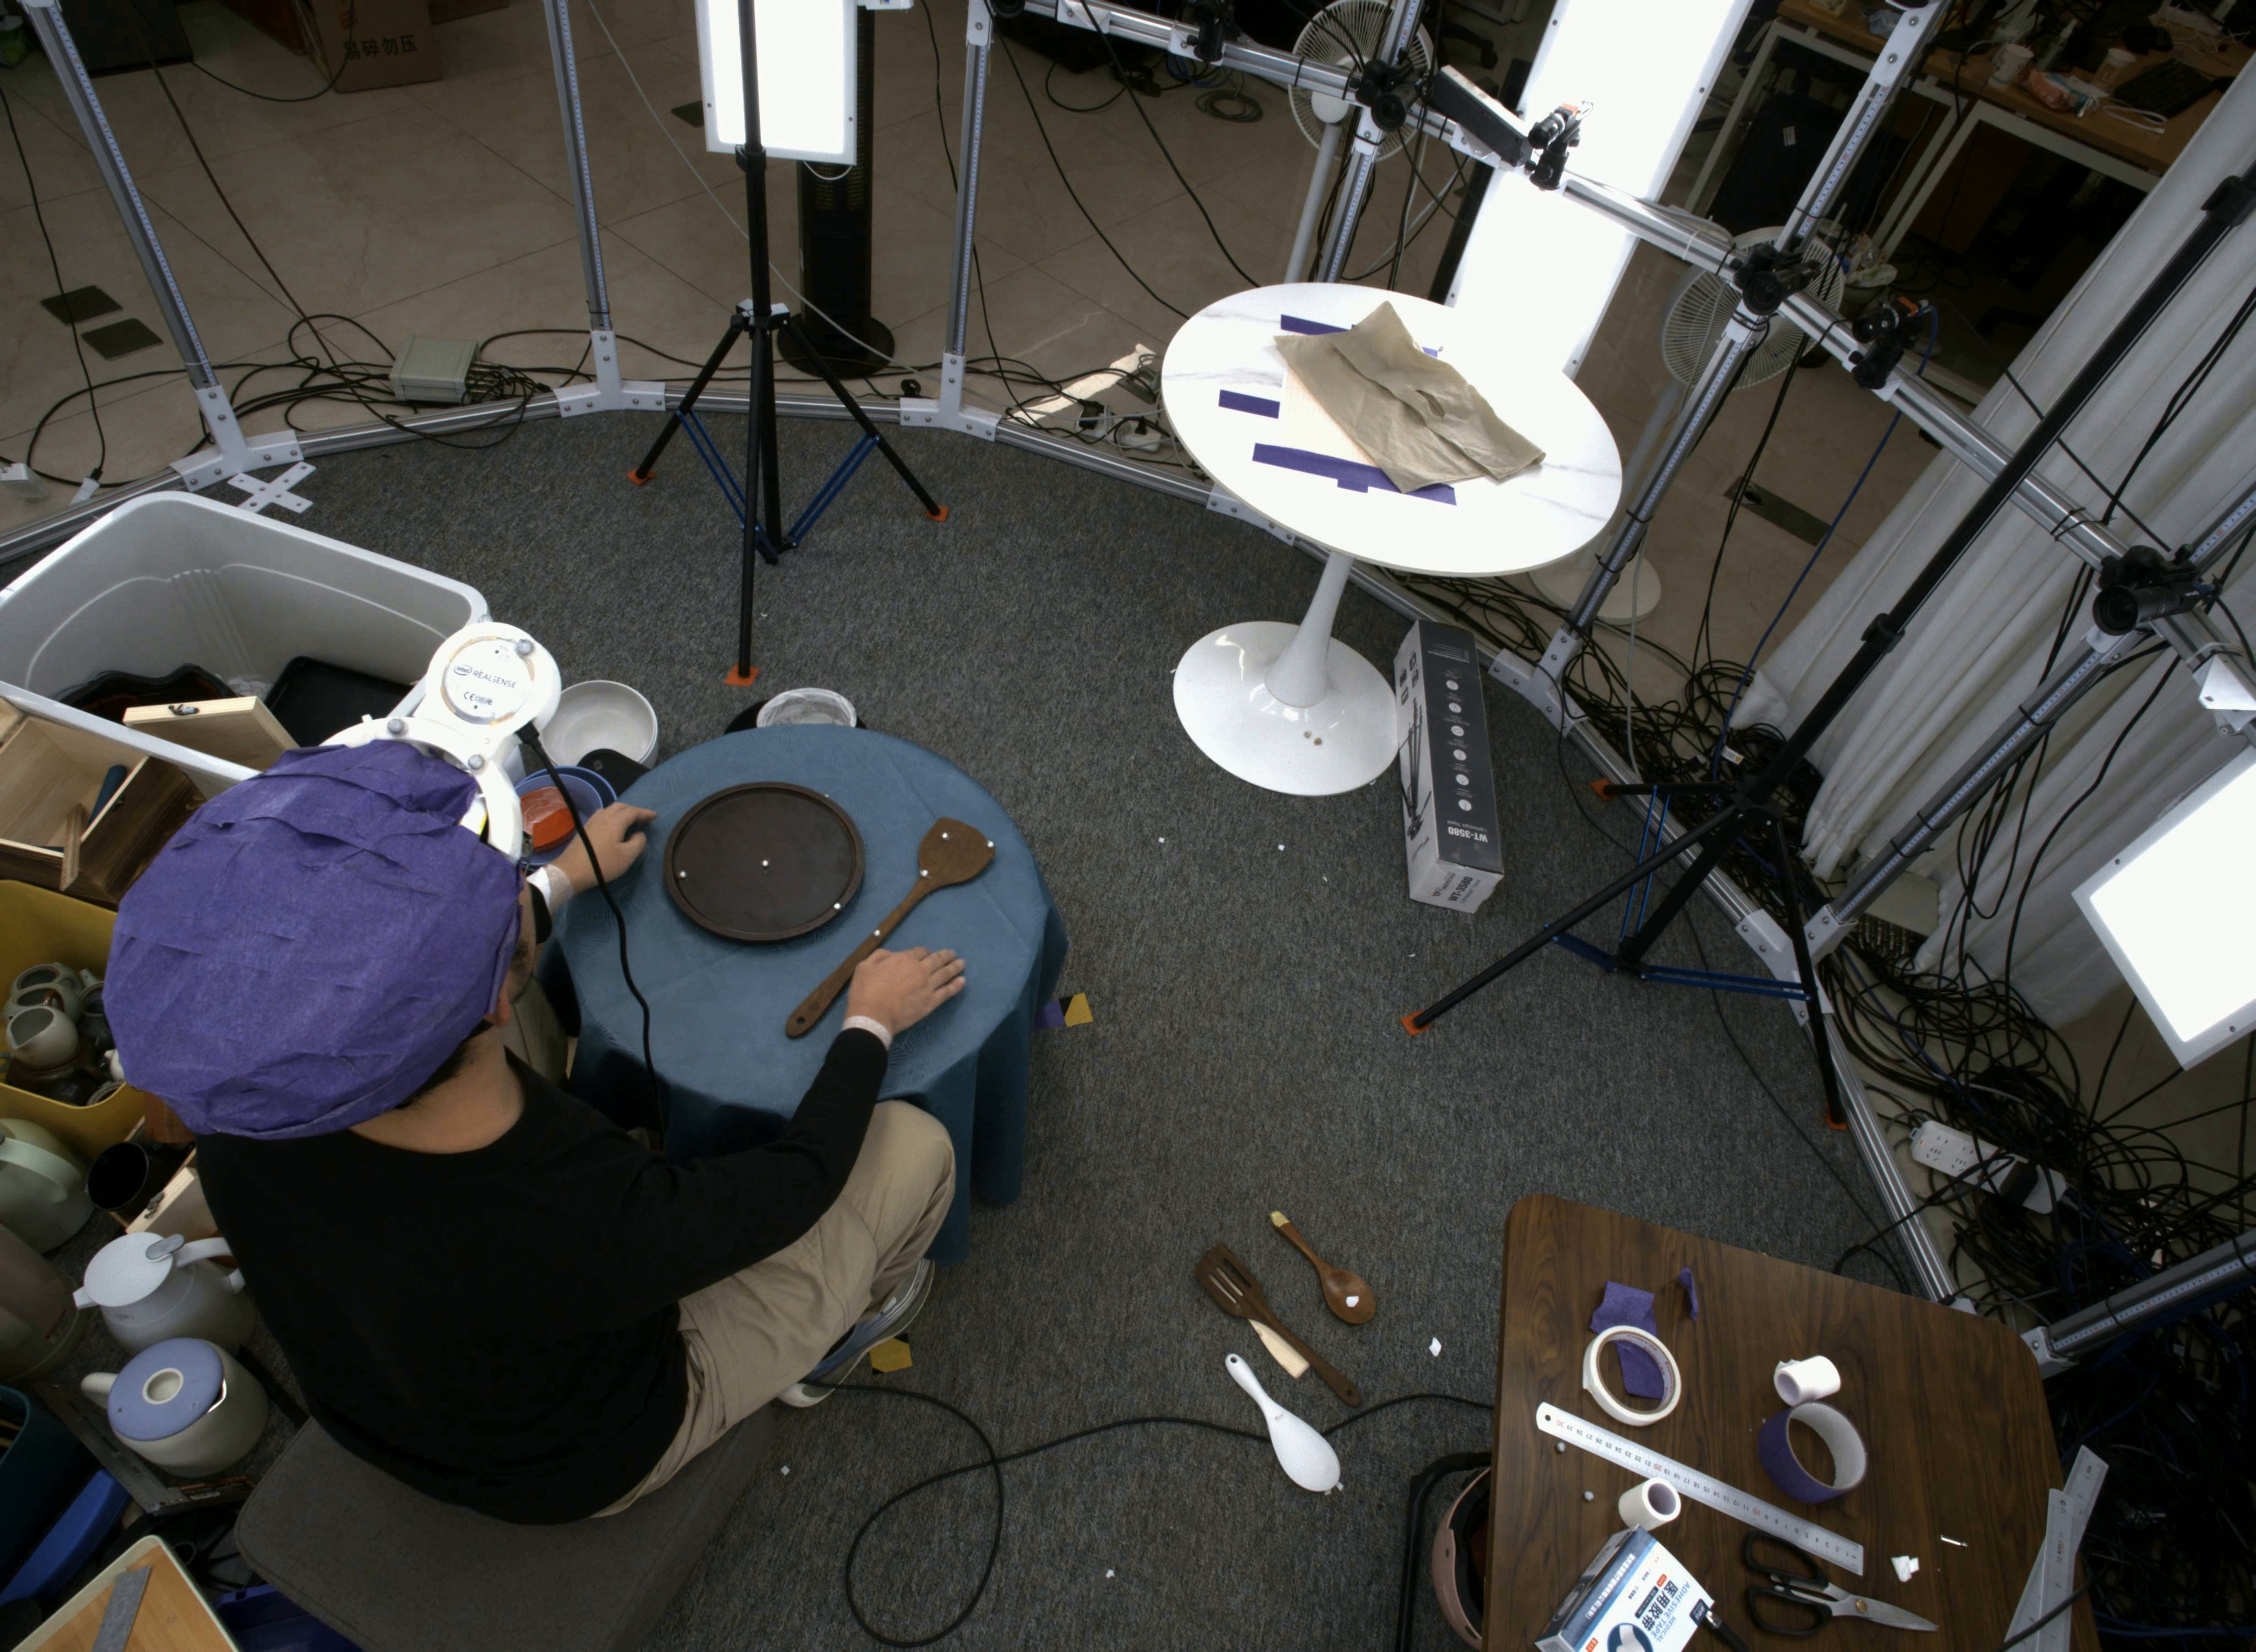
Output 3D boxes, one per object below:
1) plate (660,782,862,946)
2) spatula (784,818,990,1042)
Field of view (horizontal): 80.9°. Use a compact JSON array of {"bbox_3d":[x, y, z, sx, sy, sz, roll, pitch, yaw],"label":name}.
[{"bbox_3d":[-0.469,0.045,1.657,0.254,0.029,0.250,9,53,-10],"label":"plate"},{"bbox_3d":[-0.309,0.126,1.646,0.094,0.016,0.384,30,53,9],"label":"spatula"}]
